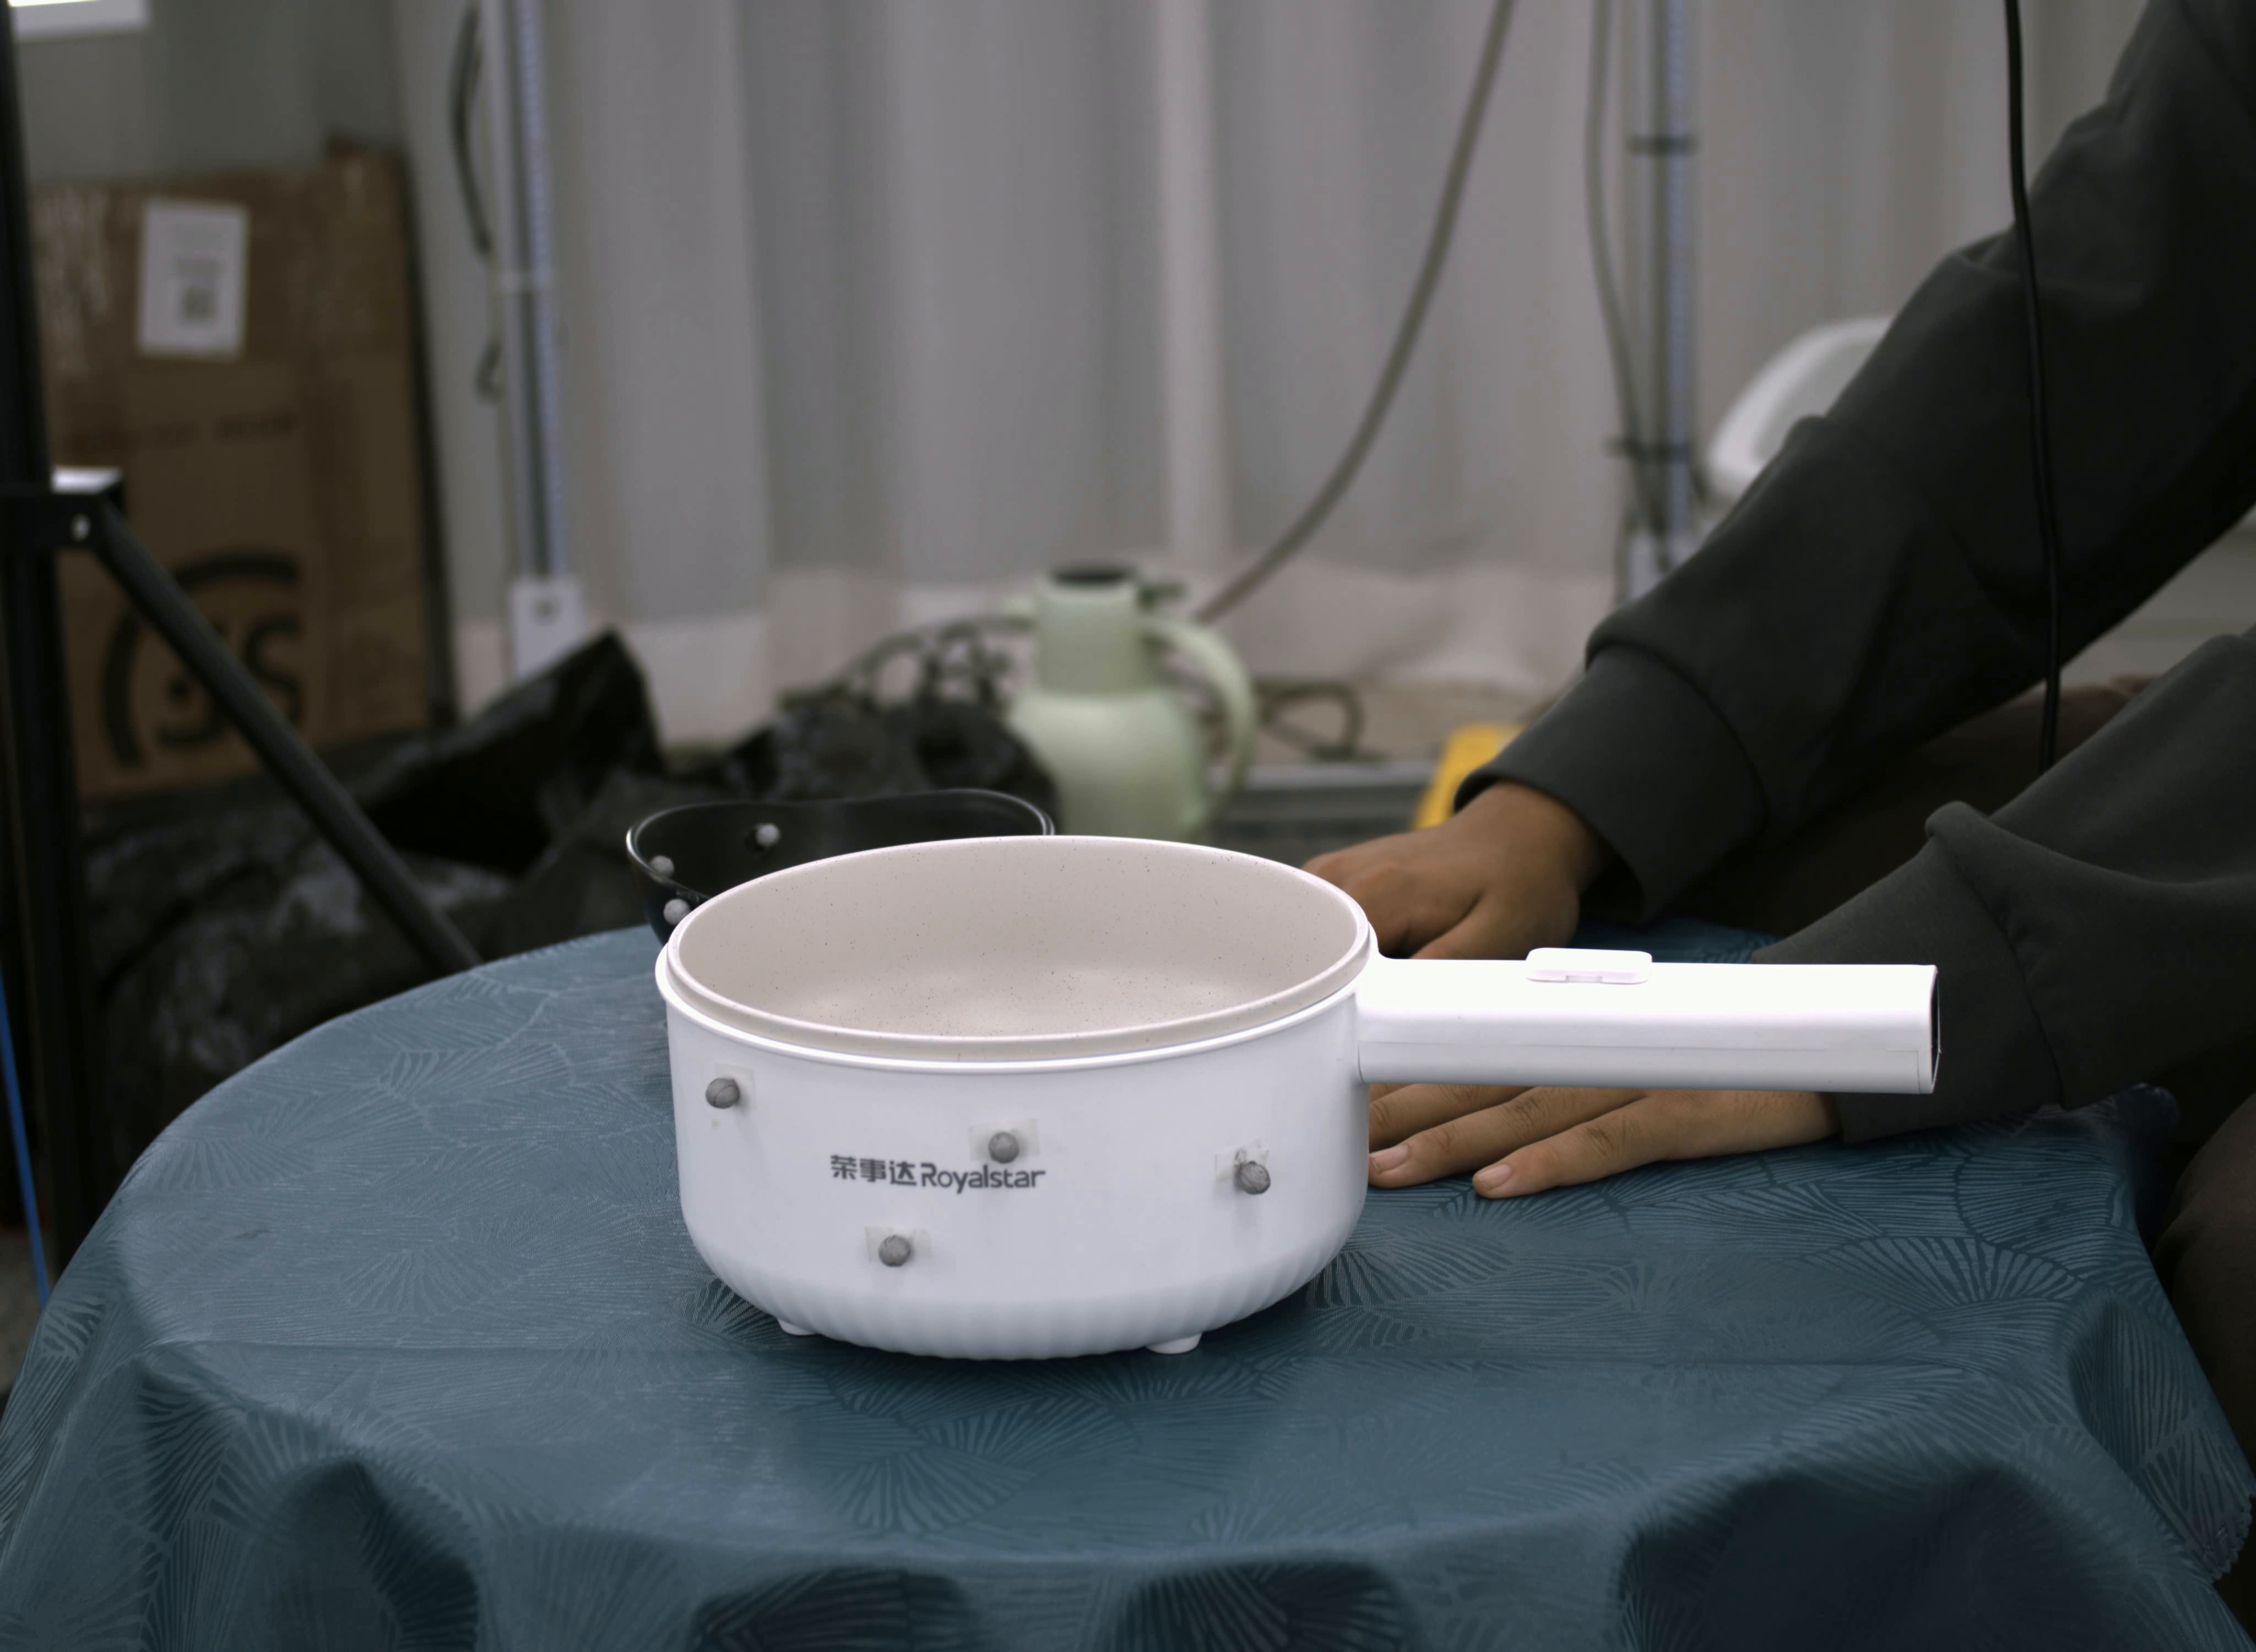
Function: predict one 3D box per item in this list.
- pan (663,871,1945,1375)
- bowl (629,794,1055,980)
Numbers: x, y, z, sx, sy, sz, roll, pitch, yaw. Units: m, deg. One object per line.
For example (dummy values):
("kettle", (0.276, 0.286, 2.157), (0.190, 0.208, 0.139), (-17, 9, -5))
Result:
("pan", (0.046, 0.088, 1.468), (0.357, 0.102, 0.200), (3, 13, 12))
("bowl", (-0.091, 0.032, 1.722), (0.136, 0.067, 0.172), (-4, 14, -6))
